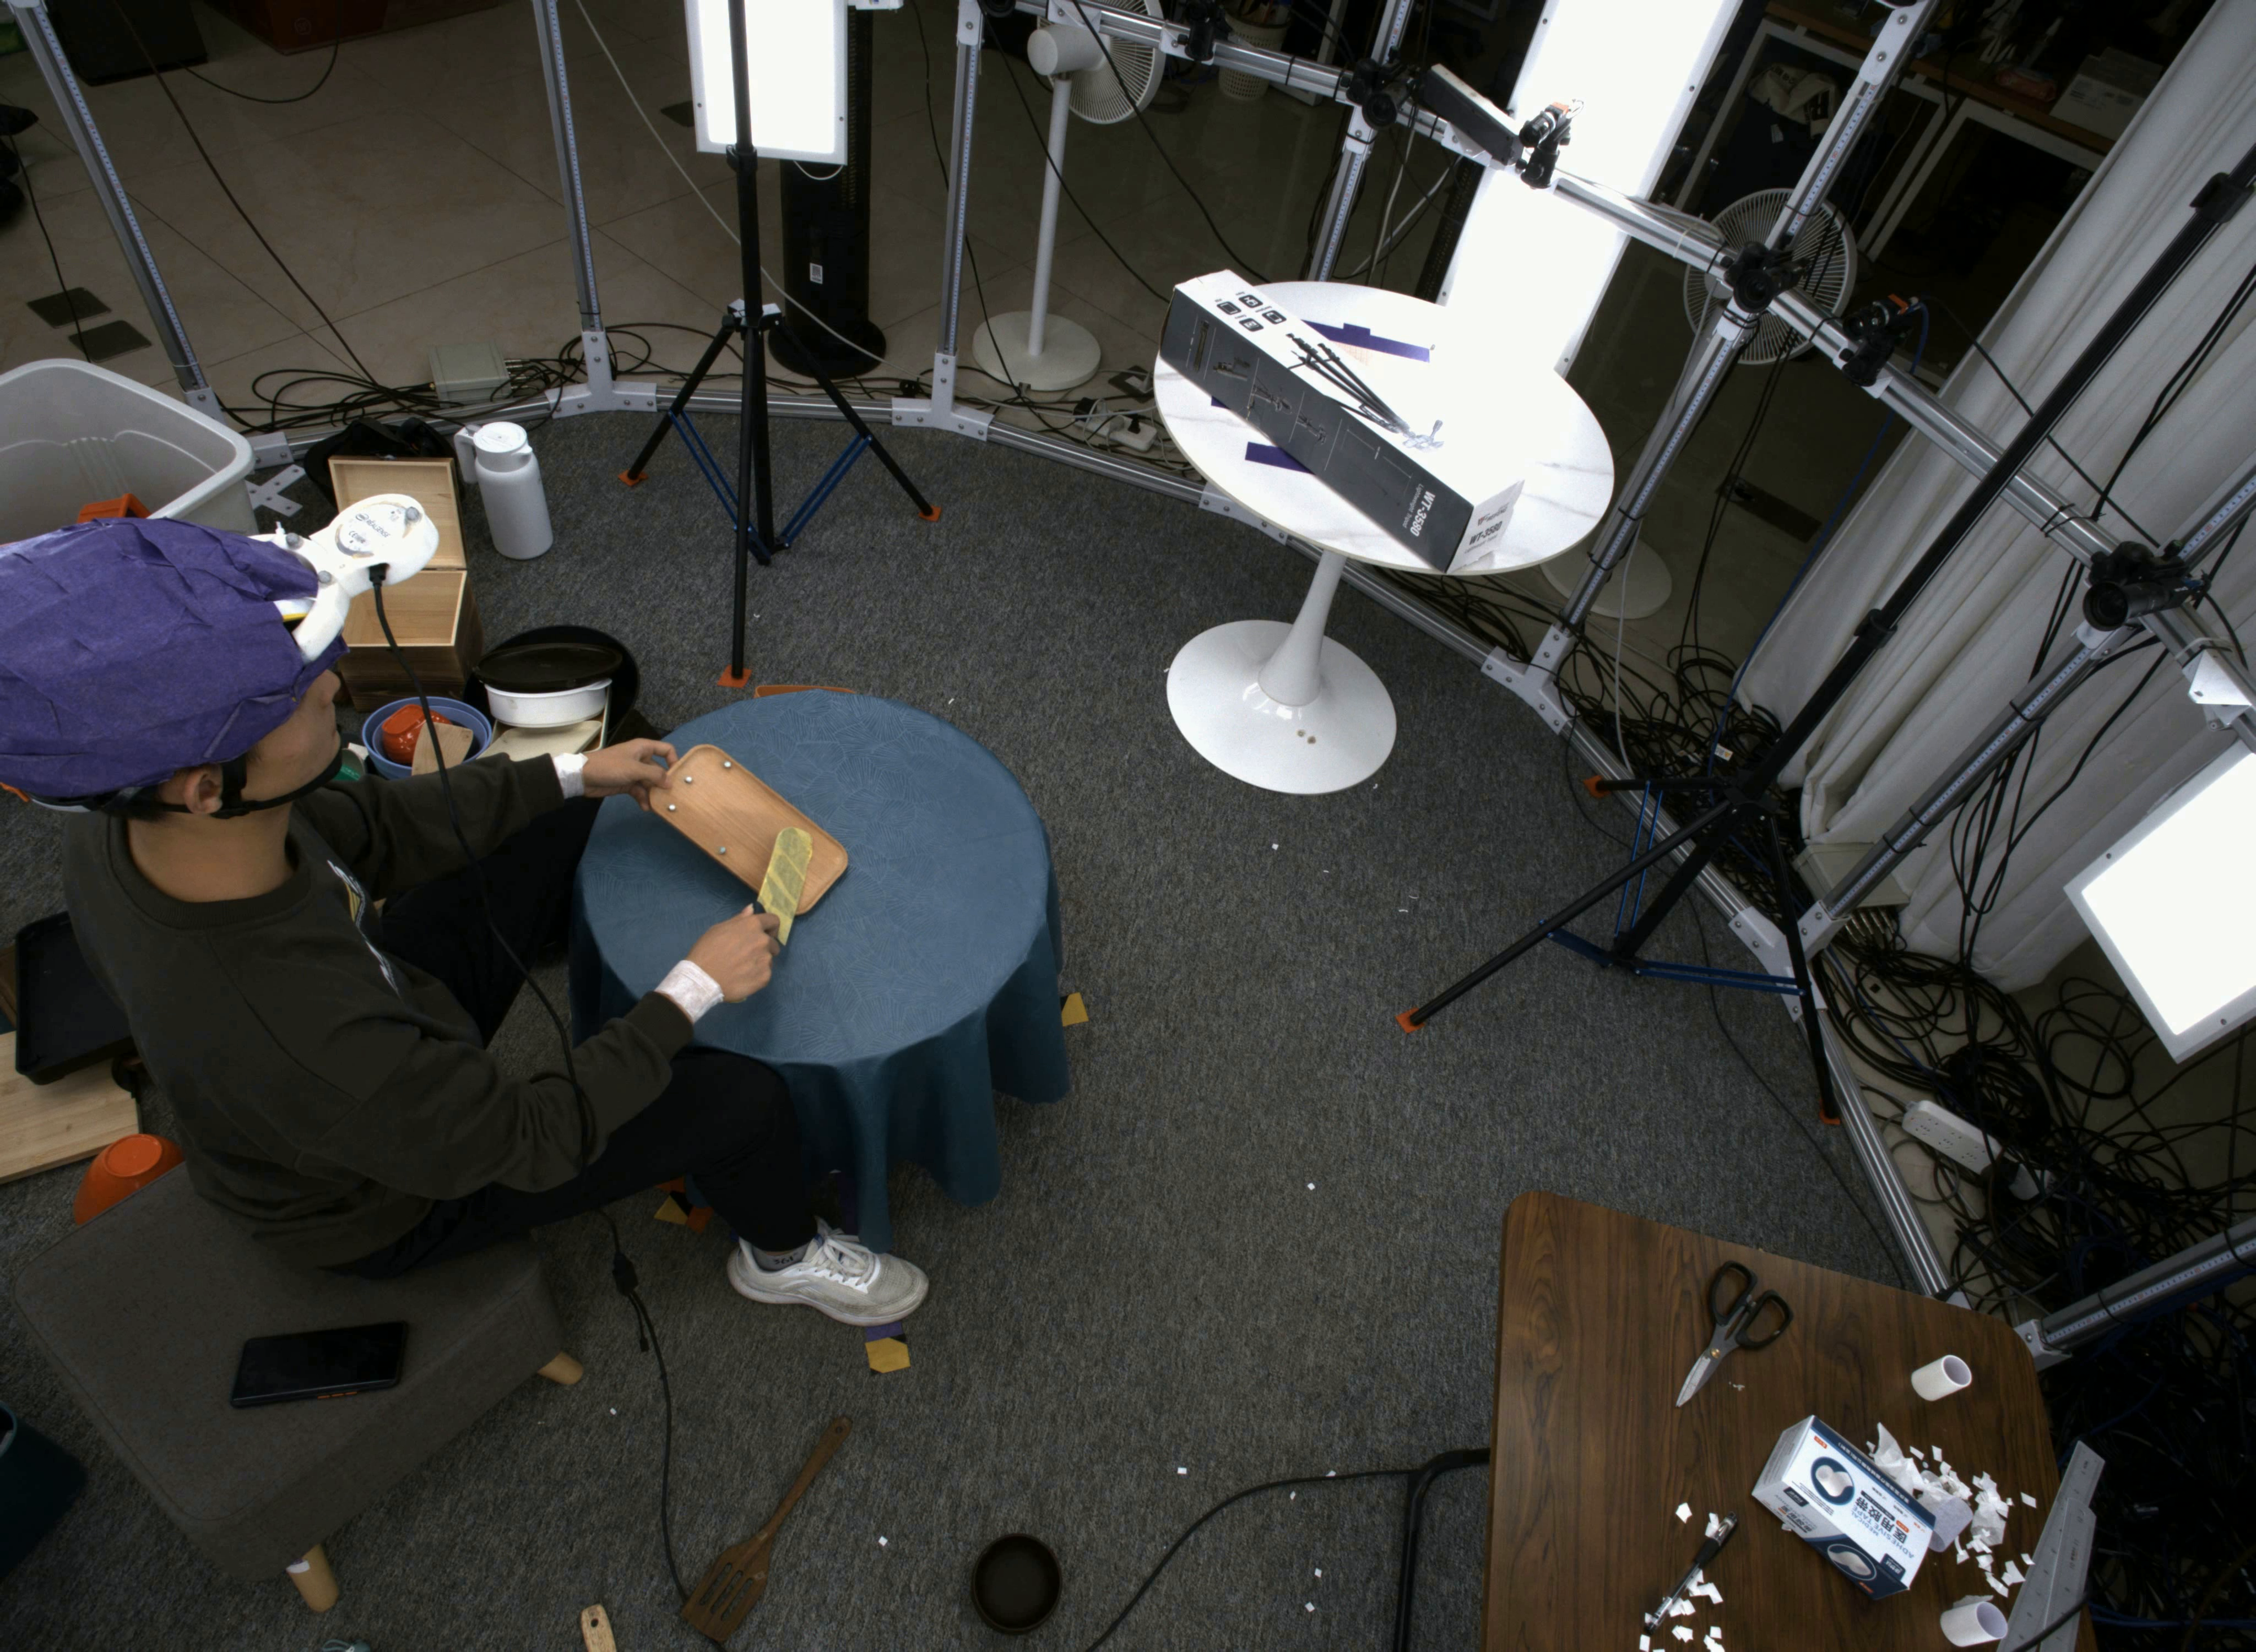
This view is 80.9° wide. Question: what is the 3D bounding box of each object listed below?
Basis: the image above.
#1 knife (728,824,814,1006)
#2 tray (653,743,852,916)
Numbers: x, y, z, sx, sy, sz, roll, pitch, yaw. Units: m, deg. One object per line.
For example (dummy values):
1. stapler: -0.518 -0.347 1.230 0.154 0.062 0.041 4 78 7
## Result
1. knife: -0.431 0.105 1.582 0.026 0.084 0.284 -10 43 20
2. tray: -0.481 0.003 1.660 0.253 0.023 0.130 40 55 -9
